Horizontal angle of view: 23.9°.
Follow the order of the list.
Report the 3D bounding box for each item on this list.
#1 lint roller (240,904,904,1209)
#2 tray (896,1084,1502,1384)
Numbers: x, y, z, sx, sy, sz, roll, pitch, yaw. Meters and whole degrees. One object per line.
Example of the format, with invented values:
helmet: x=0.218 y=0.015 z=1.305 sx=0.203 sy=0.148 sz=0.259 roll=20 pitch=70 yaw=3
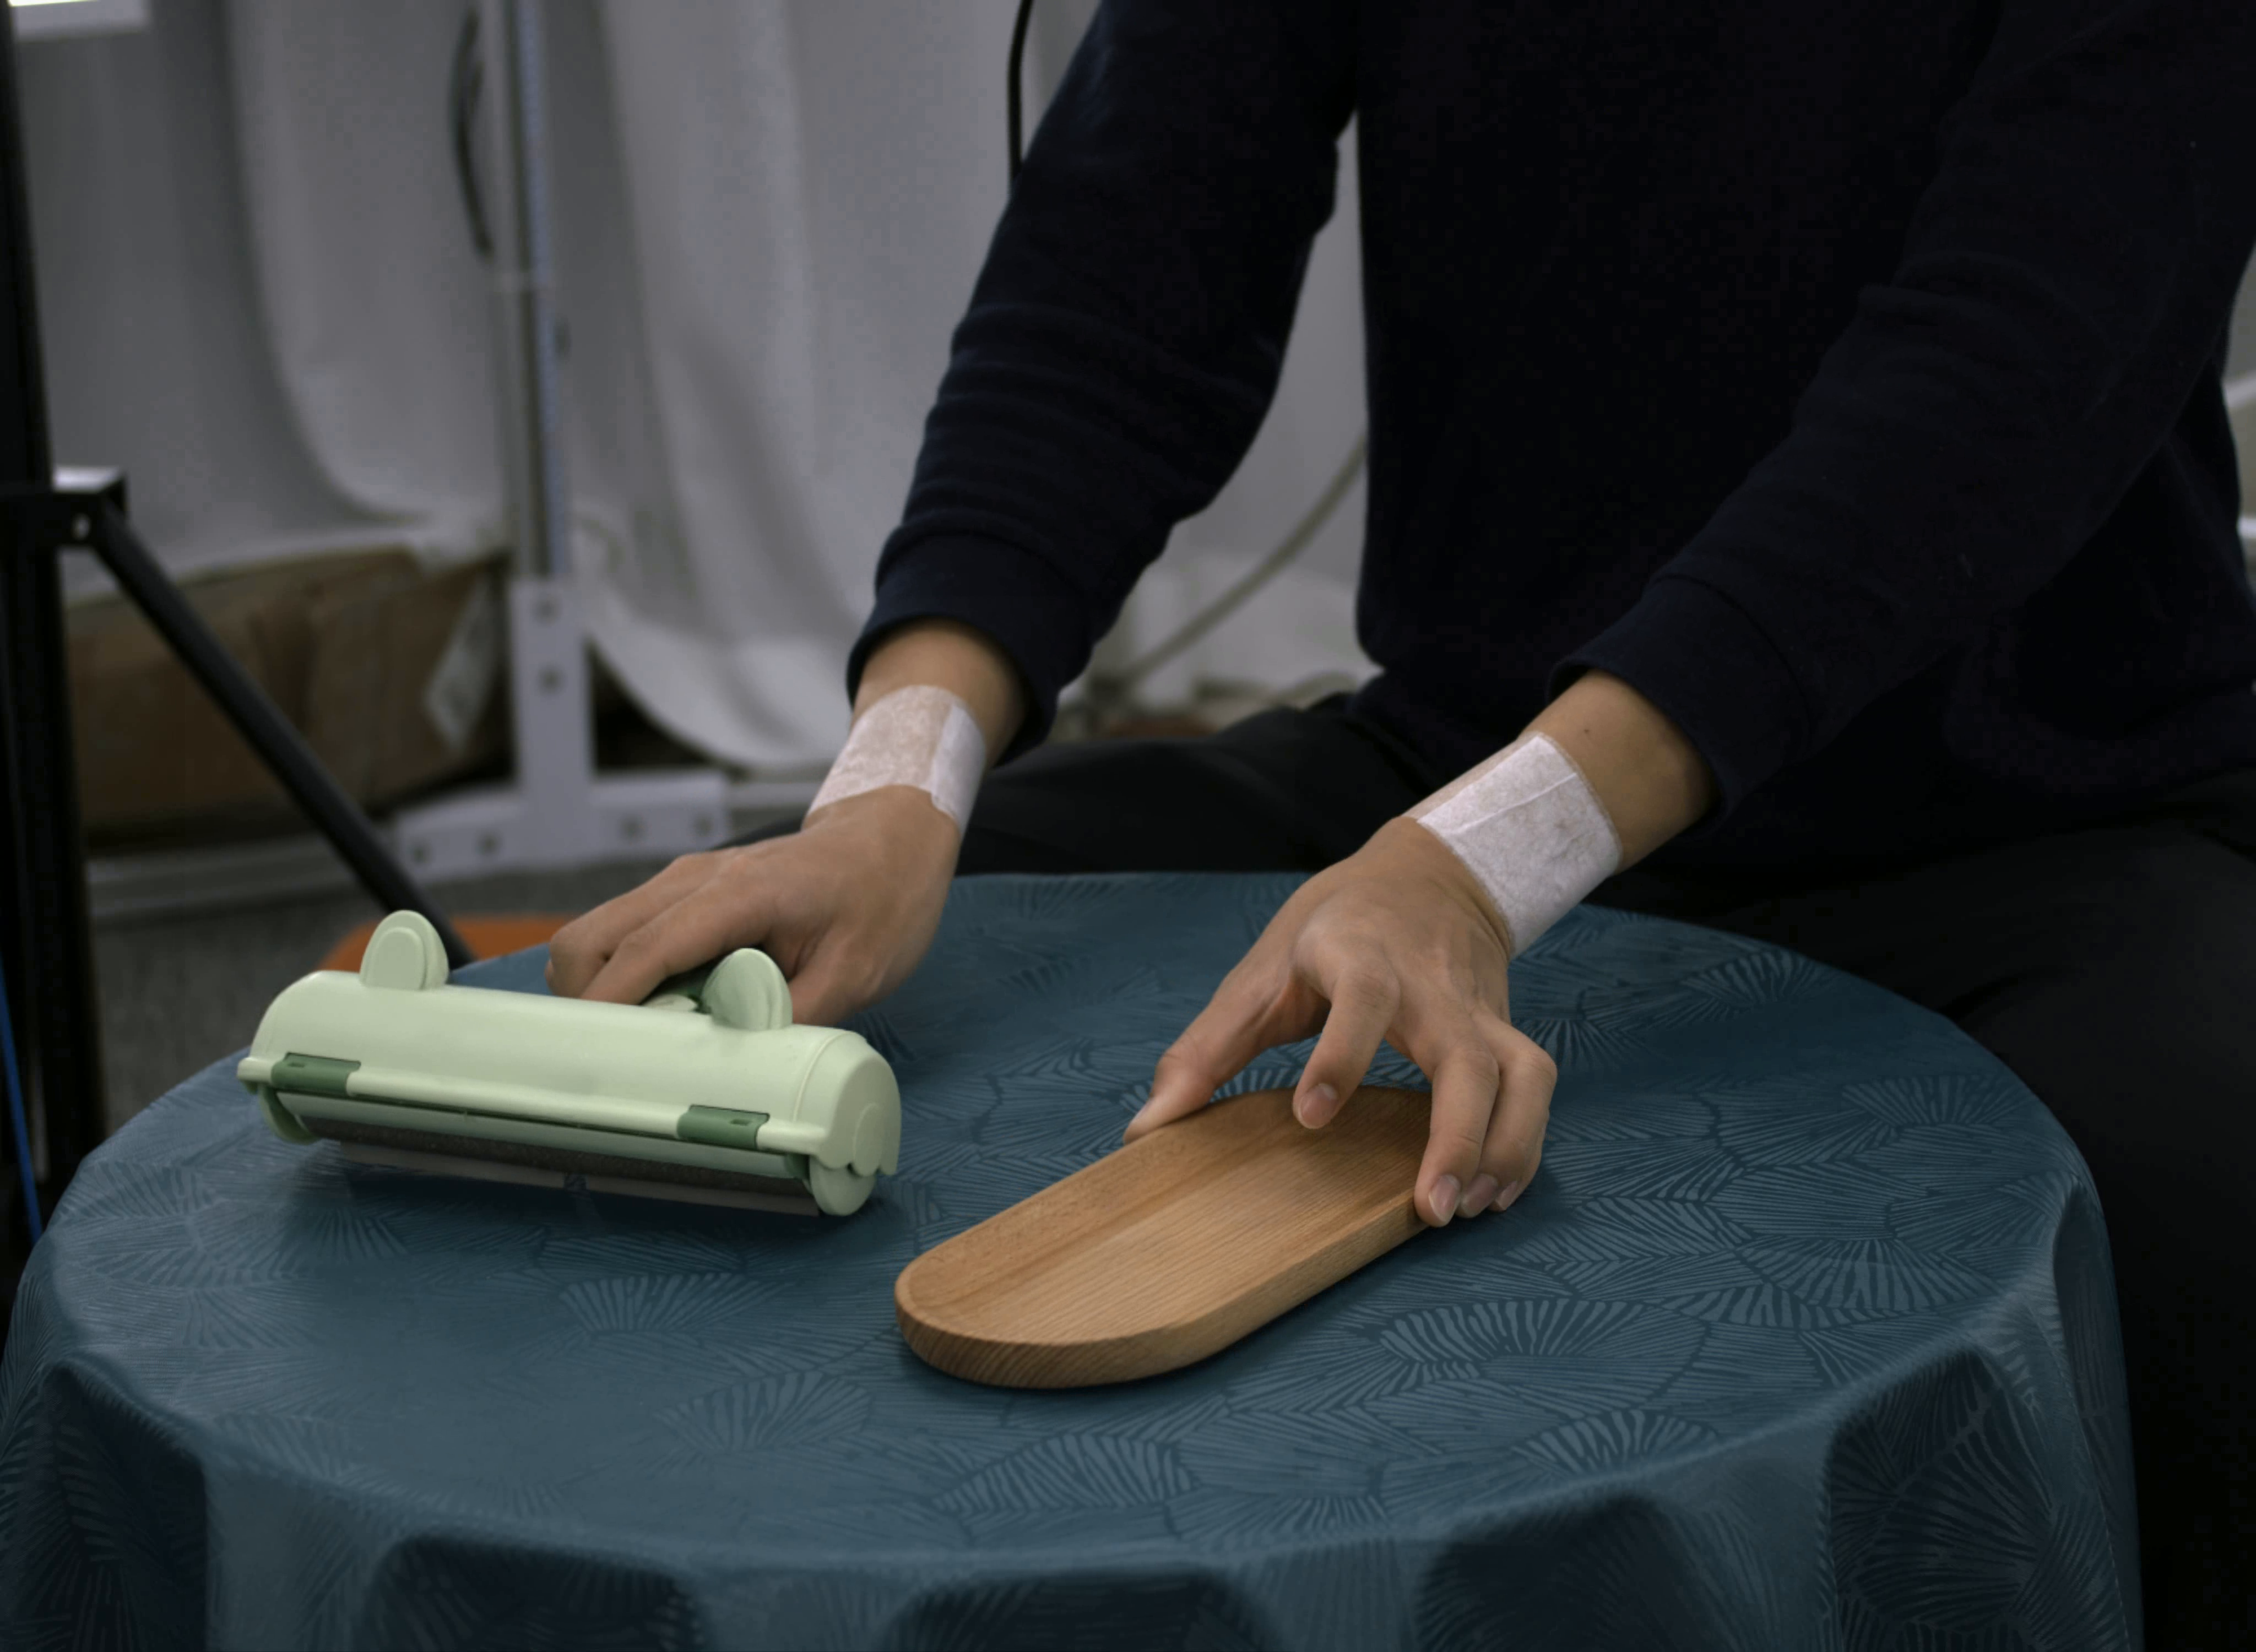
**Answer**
lint roller: x=-0.144 y=0.048 z=1.623 sx=0.201 sy=0.082 sz=0.181 roll=6 pitch=26 yaw=24
tray: x=0.023 y=0.114 z=1.504 sx=0.104 sy=0.020 sz=0.226 roll=8 pitch=18 yaw=34
